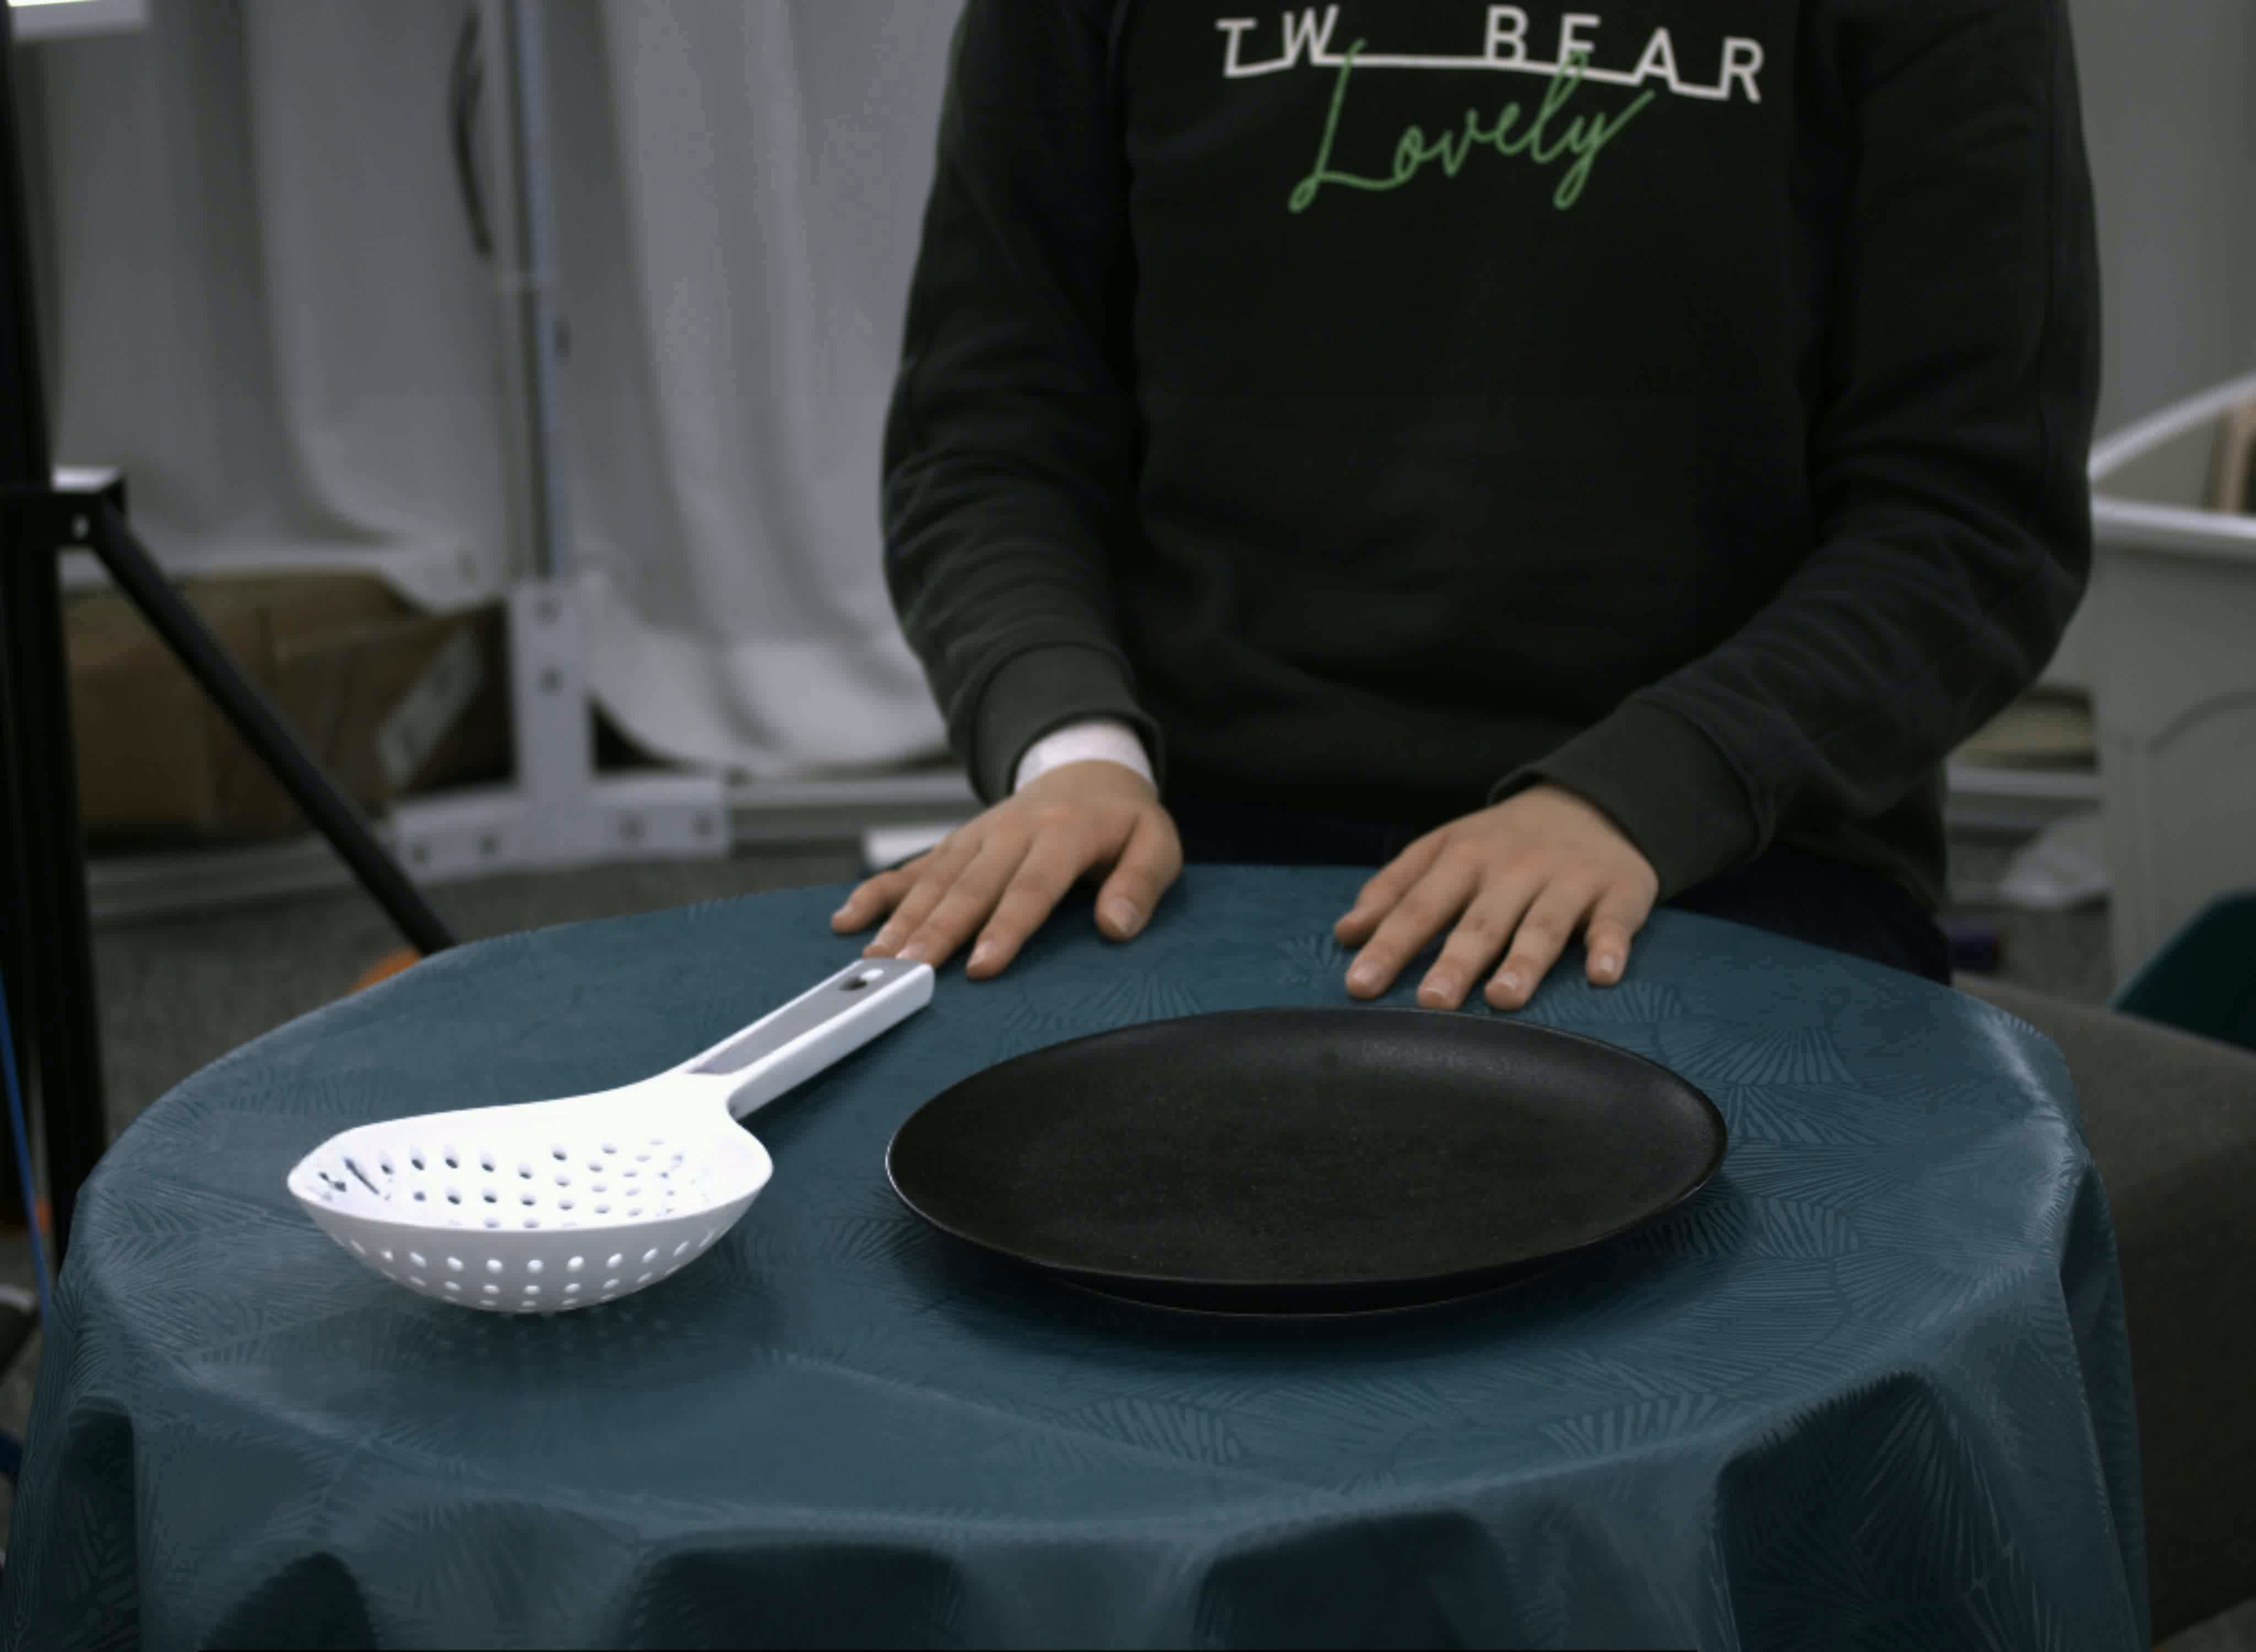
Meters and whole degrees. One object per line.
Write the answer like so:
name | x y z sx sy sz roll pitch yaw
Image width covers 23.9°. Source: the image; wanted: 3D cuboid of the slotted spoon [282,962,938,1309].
slotted spoon | -0.132 0.083 1.587 0.137 0.046 0.345 5 17 19

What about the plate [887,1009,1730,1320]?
plate | 0.052 0.100 1.535 0.243 0.023 0.245 -3 16 -1
